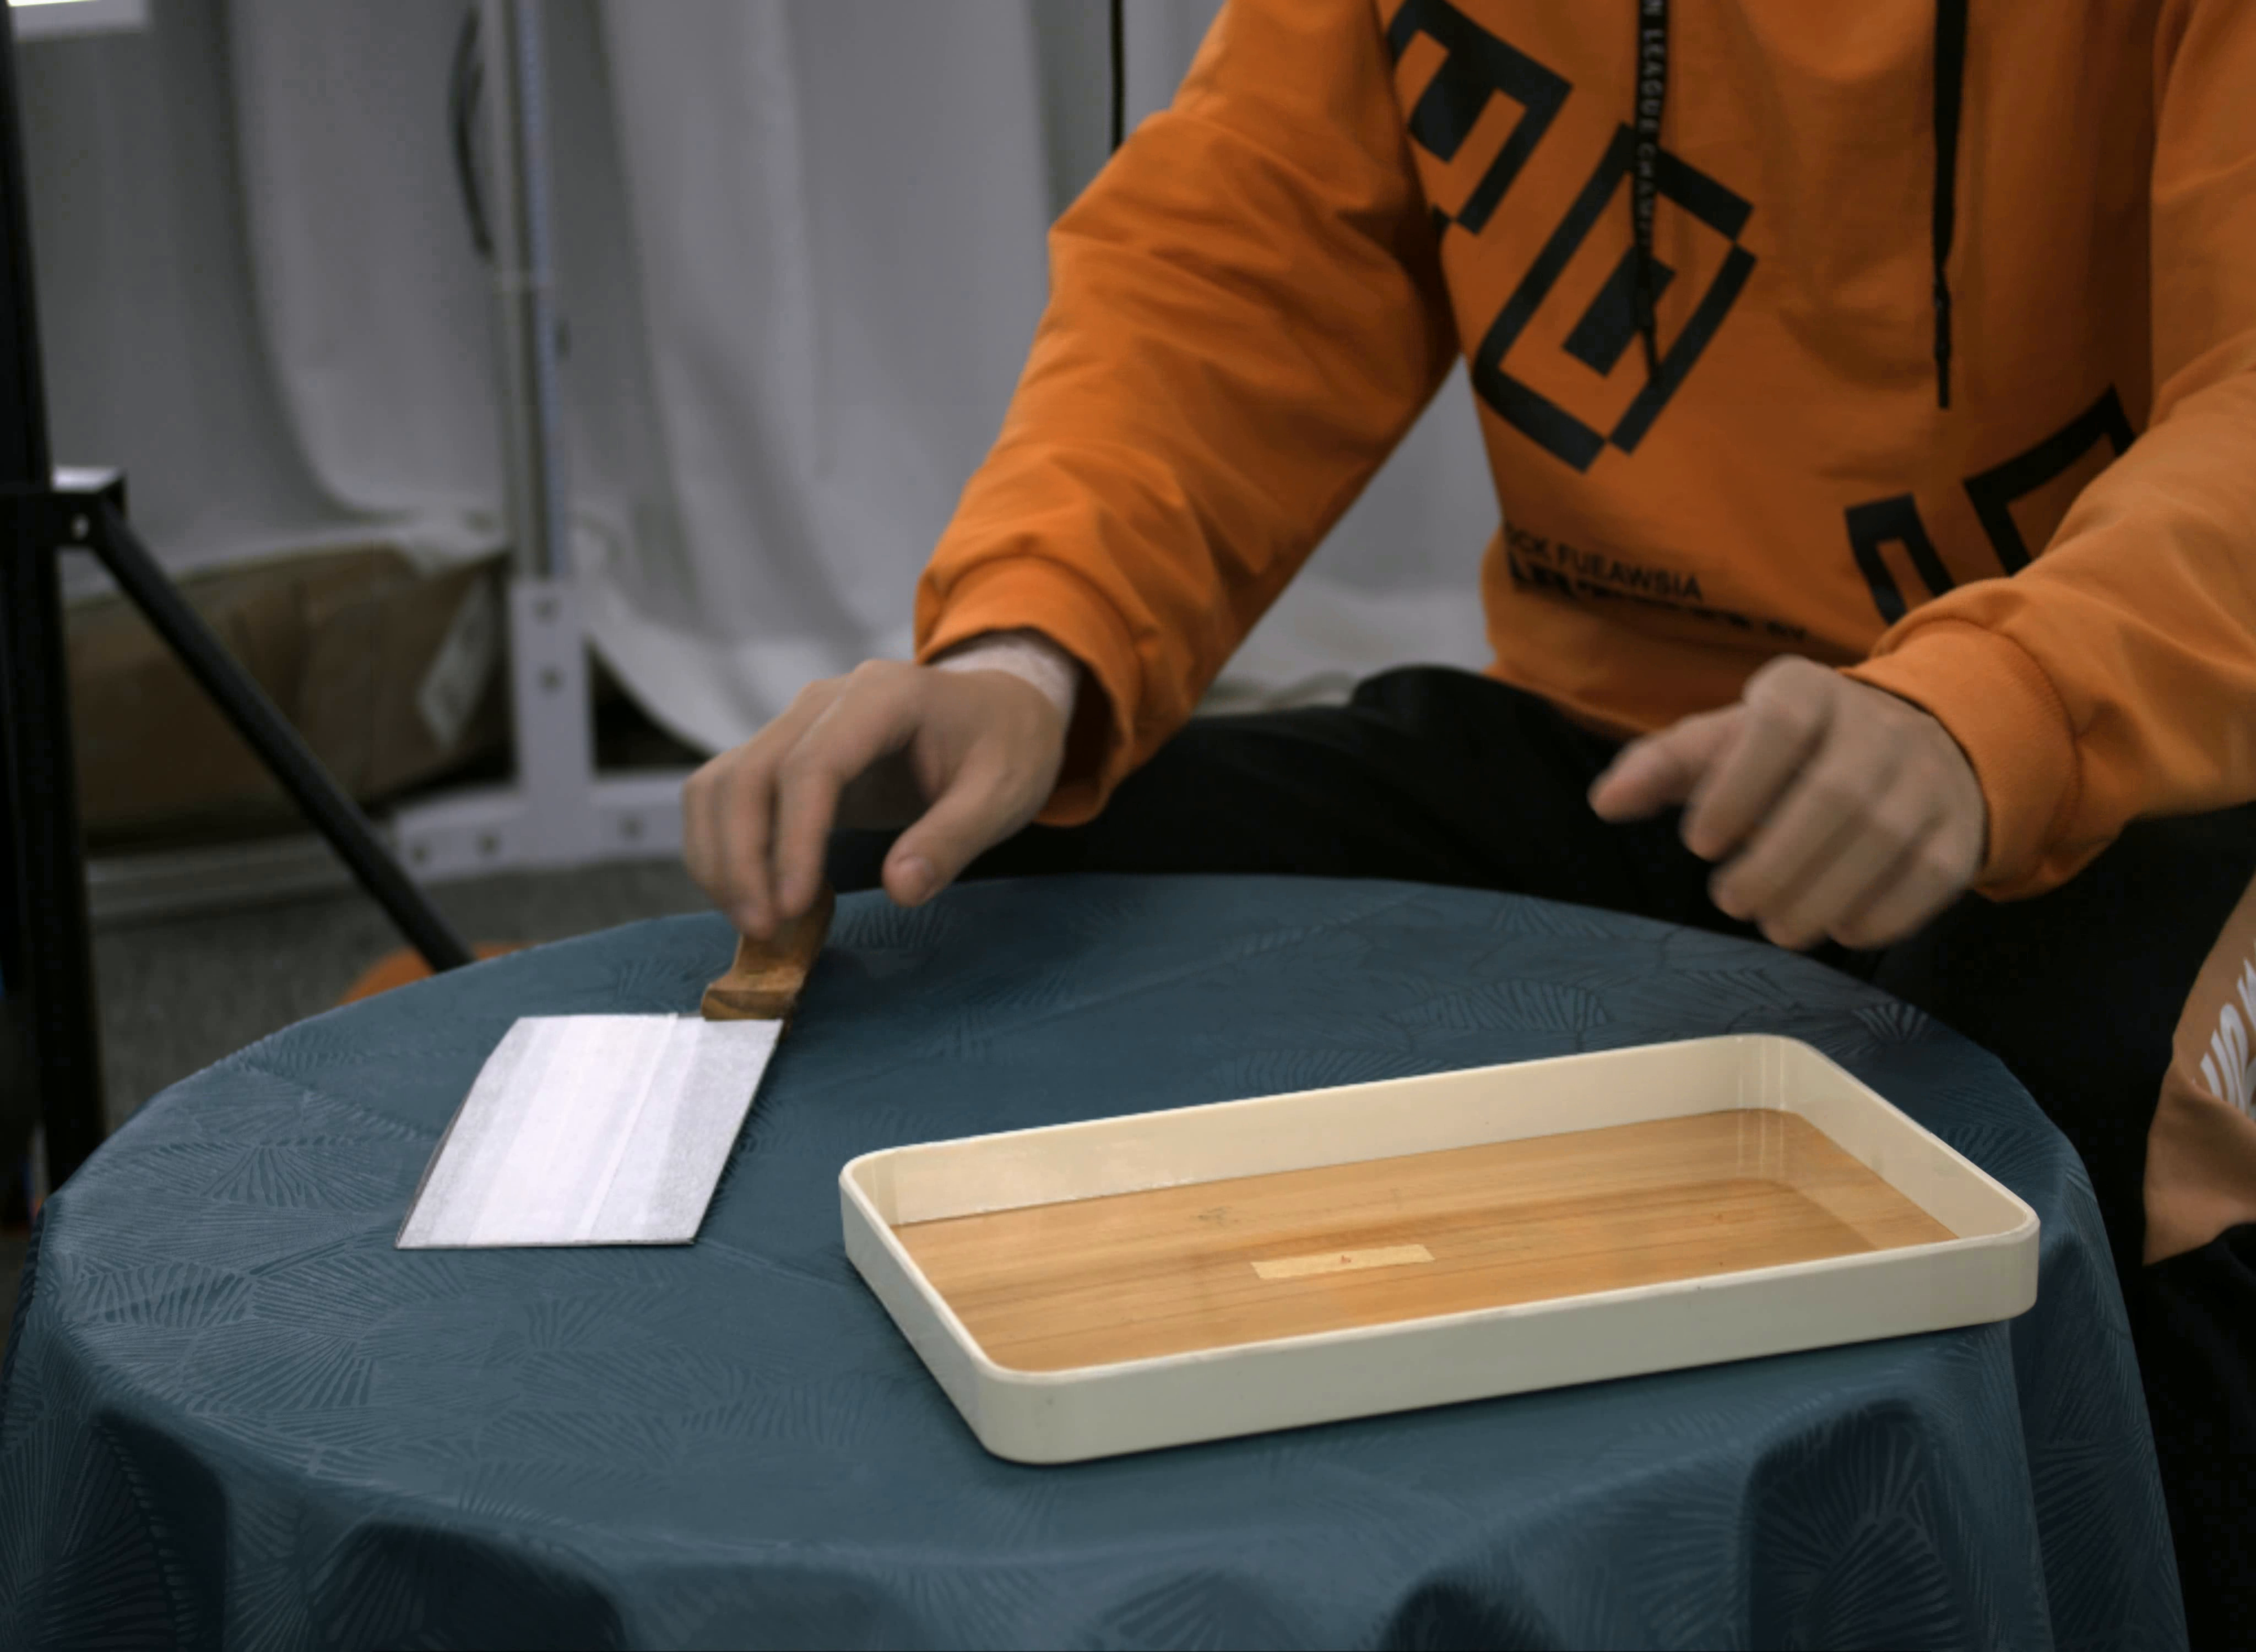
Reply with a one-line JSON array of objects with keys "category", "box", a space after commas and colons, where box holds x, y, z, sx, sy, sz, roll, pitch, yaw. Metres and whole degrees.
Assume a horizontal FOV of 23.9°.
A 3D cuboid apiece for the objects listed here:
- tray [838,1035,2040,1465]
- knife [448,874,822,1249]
[{"category": "tray", "box": [0.083, 0.114, 1.471, 0.296, 0.027, 0.194, -7, 16, -13]}, {"category": "knife", "box": [-0.154, 0.073, 1.681, 0.093, 0.021, 0.306, -3, 18, 6]}]
